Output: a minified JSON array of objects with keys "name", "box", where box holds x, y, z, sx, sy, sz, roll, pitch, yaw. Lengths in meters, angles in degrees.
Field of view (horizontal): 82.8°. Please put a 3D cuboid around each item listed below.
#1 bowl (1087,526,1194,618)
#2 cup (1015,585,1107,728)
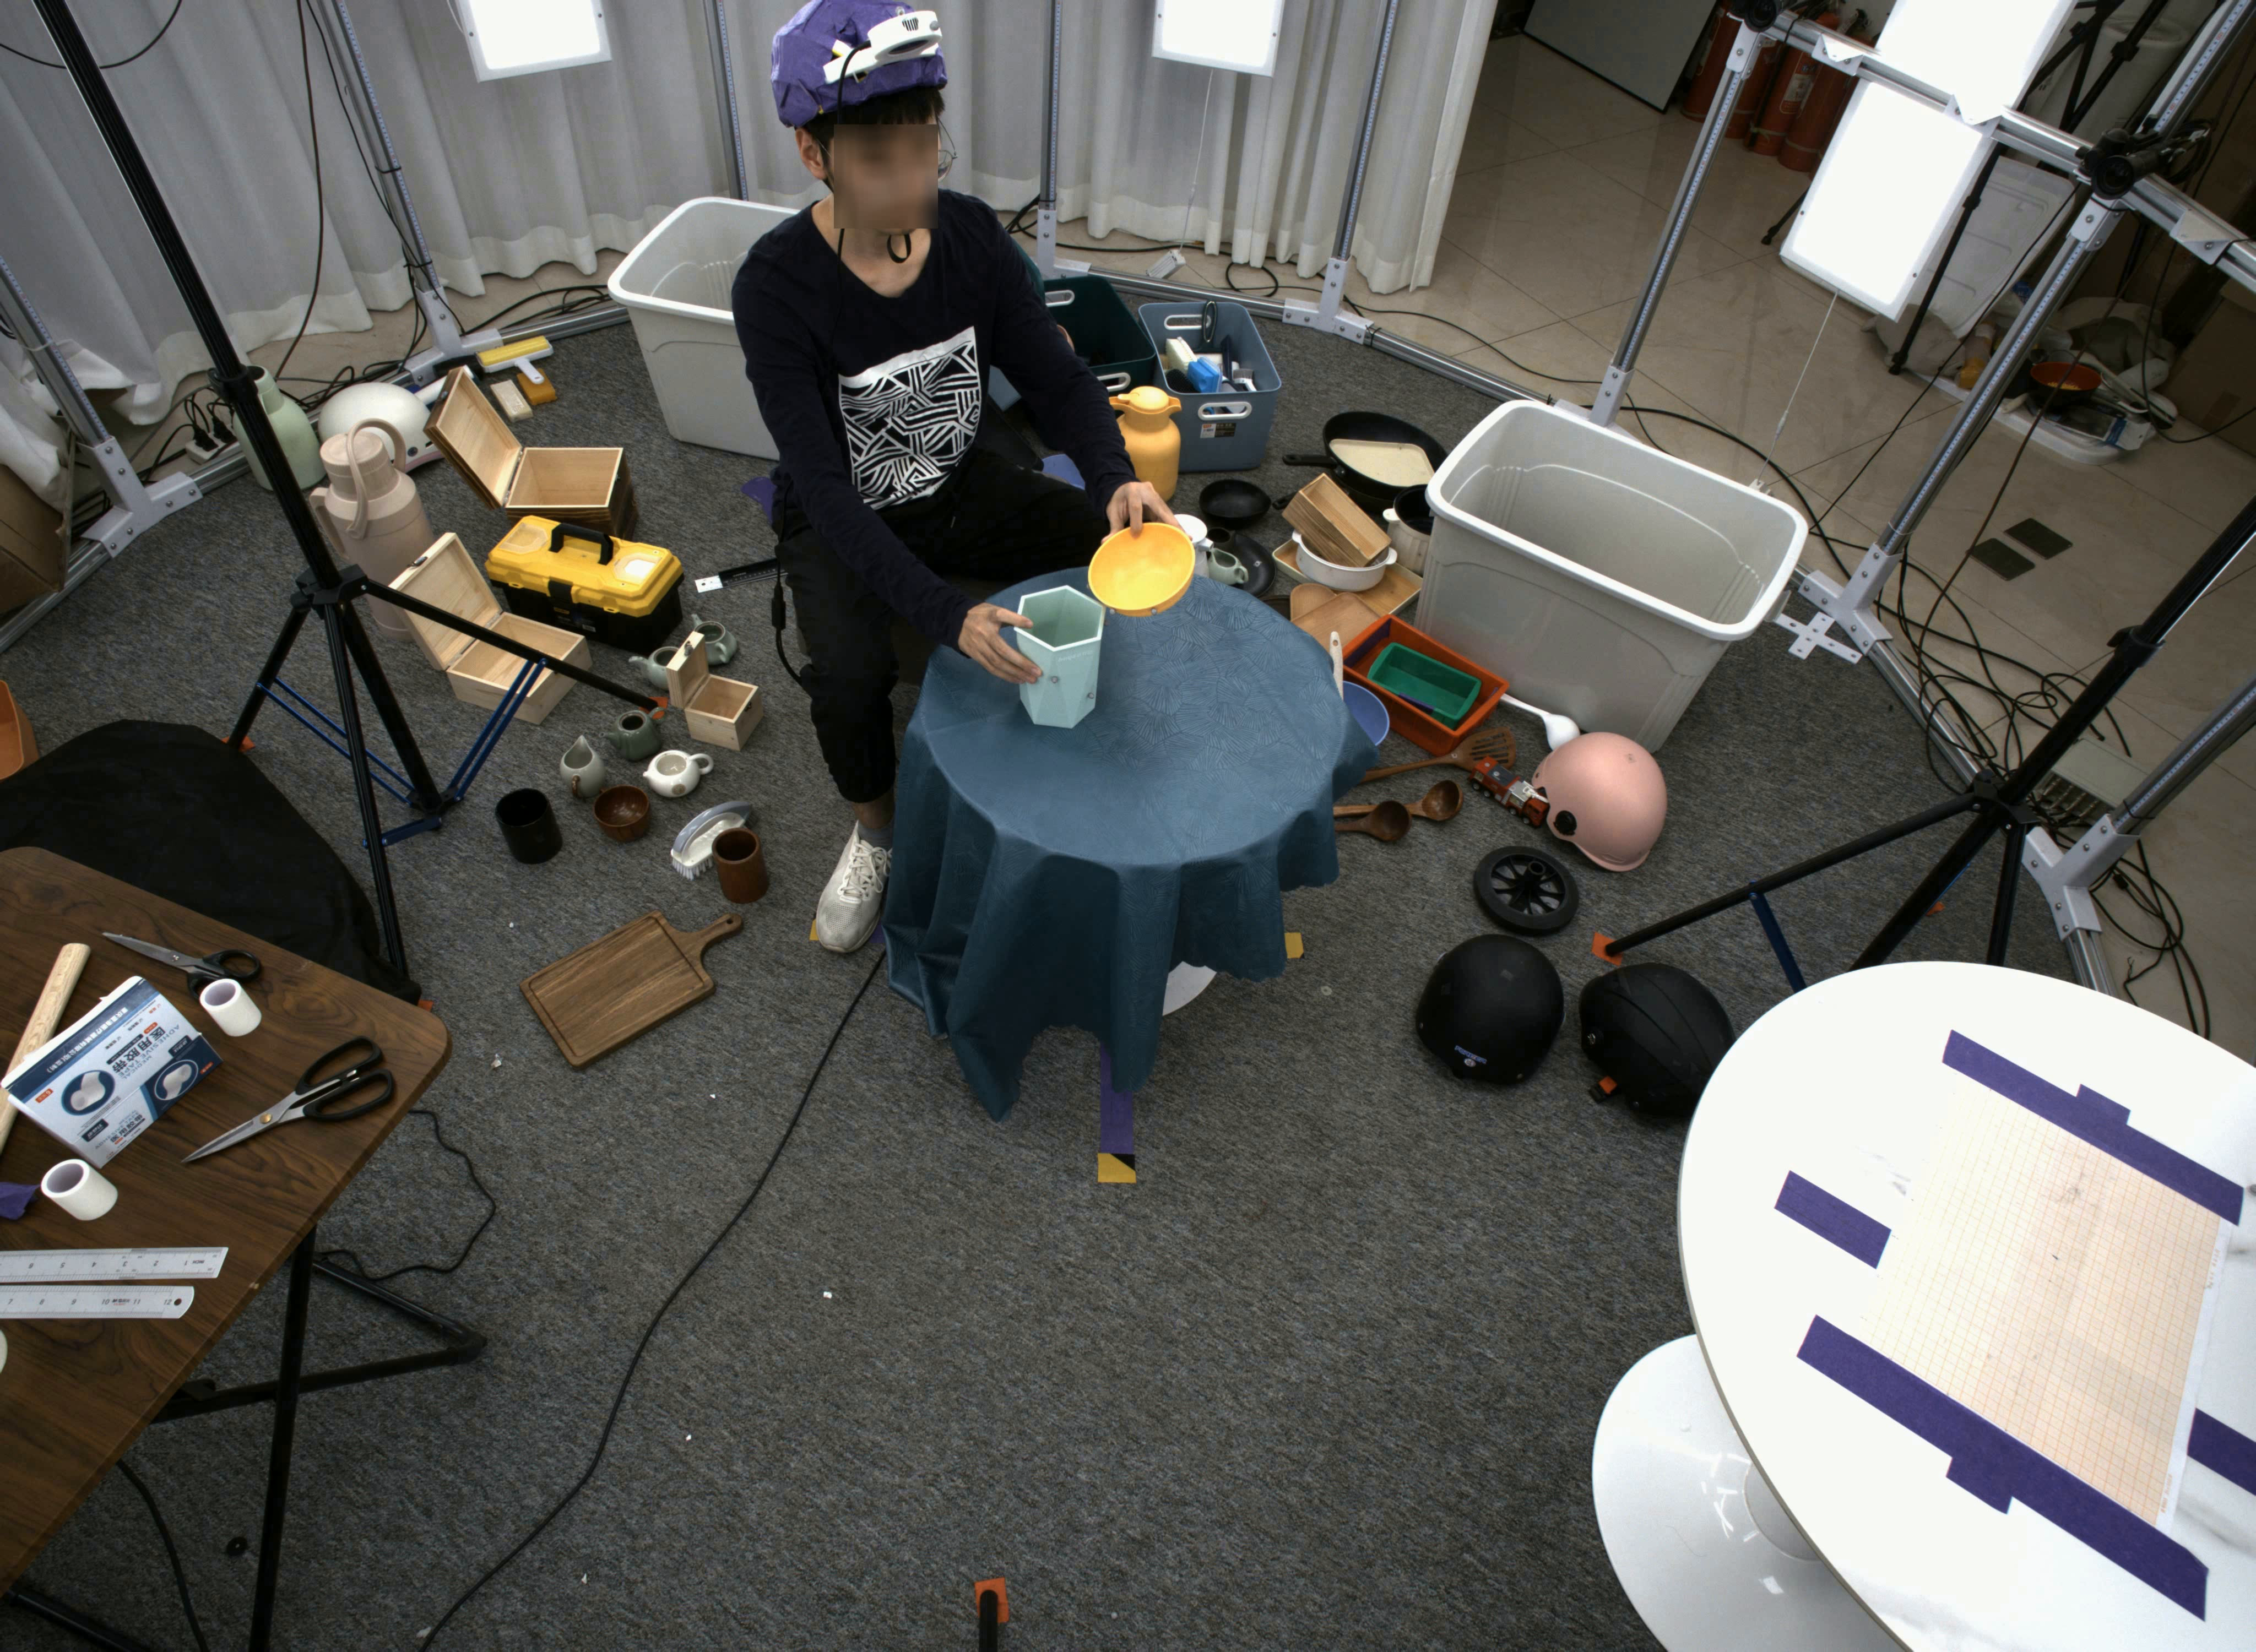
[{"name":"bowl","box":[0.023,-0.326,1.708,0.145,0.059,0.149,-9,54,13]},{"name":"cup","box":[-0.092,-0.225,1.750,0.131,0.159,0.118,-17,52,-18]}]
